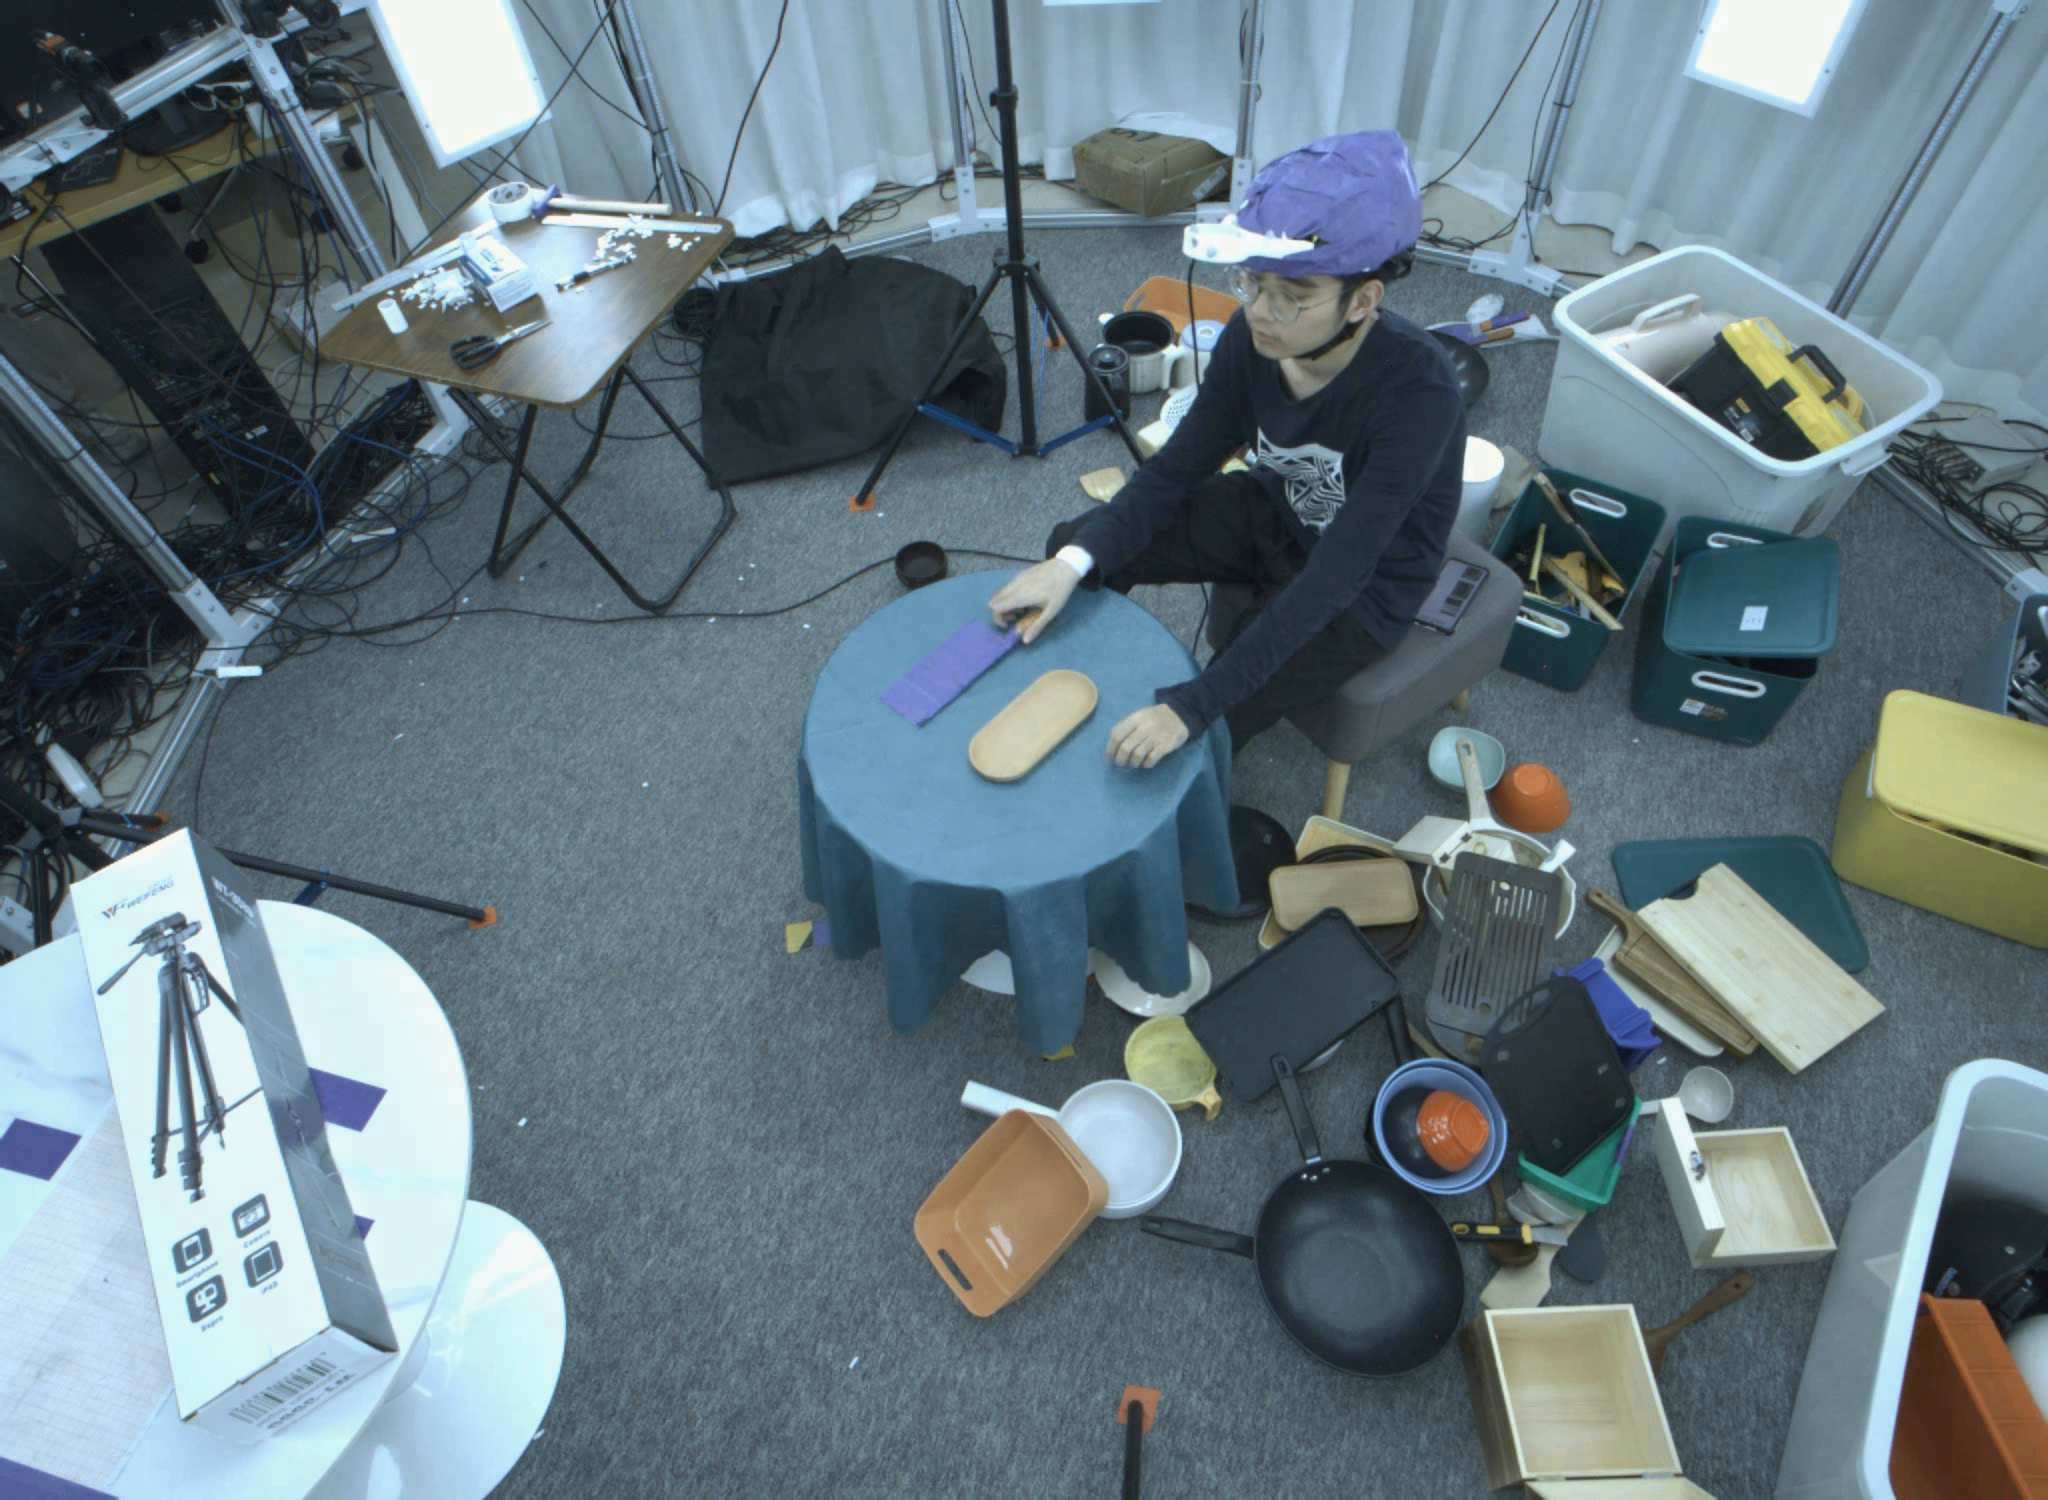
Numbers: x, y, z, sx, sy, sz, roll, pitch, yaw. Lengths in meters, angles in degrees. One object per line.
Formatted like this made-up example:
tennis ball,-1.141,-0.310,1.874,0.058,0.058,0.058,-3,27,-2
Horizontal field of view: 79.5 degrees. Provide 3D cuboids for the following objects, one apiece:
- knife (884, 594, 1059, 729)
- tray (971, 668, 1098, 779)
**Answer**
knife,-0.082,-0.155,1.891,0.102,0.032,0.317,36,63,24
tray,0.017,-0.040,1.814,0.100,0.020,0.233,35,60,22
